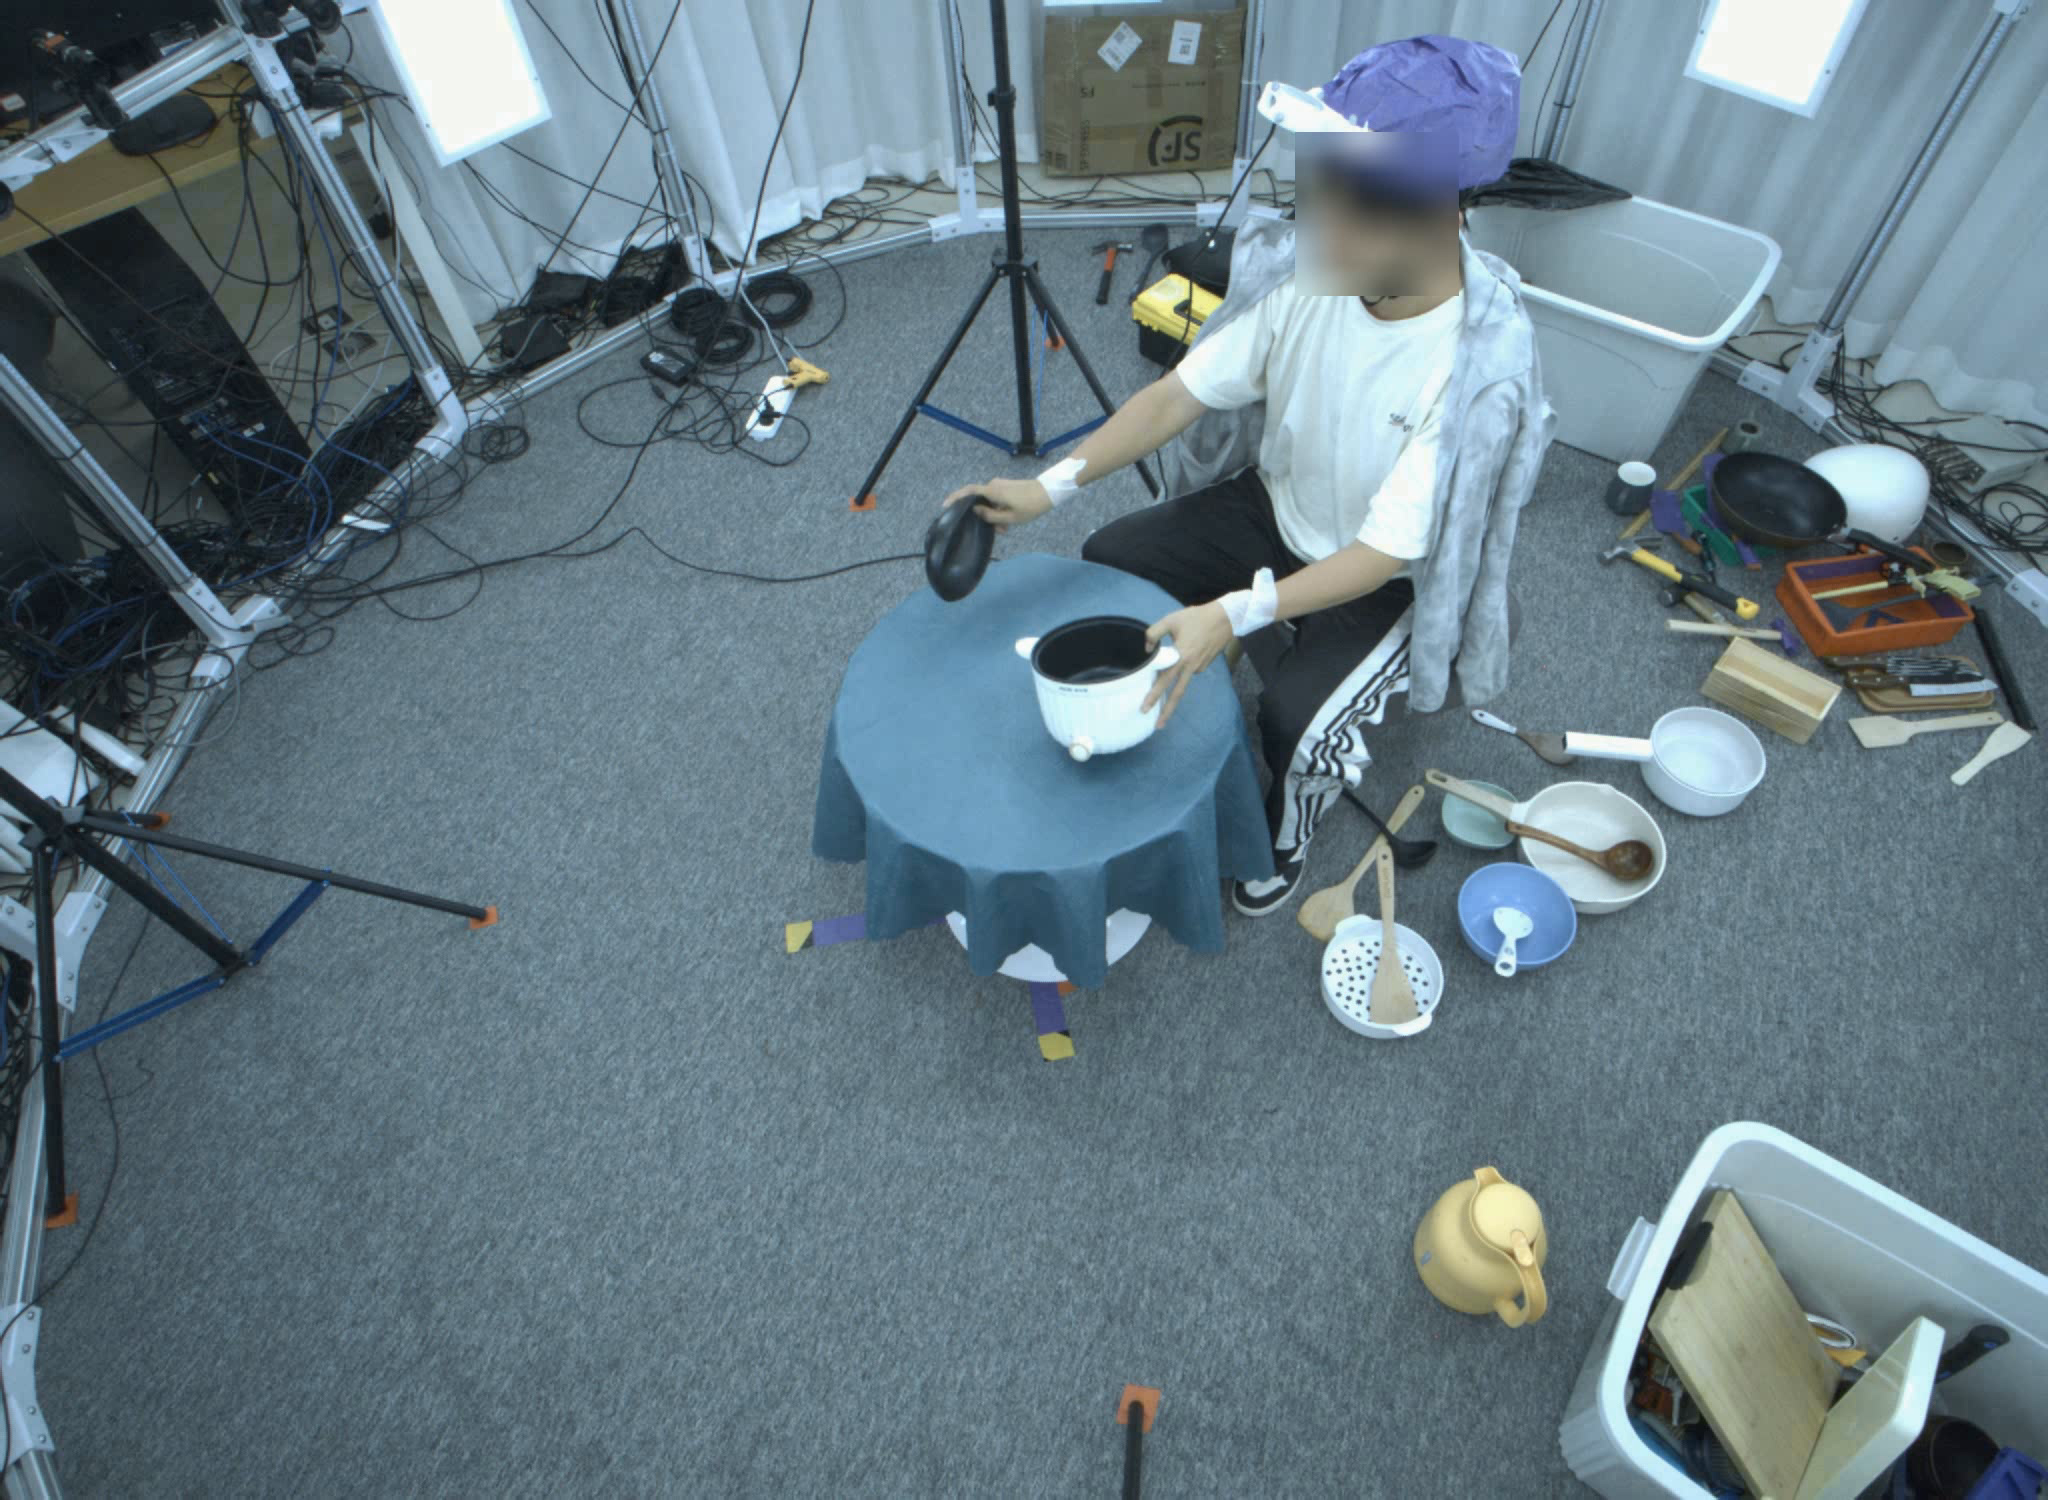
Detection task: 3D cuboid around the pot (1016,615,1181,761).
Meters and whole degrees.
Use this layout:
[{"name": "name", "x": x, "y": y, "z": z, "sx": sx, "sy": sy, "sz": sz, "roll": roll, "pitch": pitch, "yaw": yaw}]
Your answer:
[{"name": "pot", "x": 0.108, "y": -0.084, "z": 1.726, "sx": 0.236, "sy": 0.144, "sz": 0.191, "roll": 6, "pitch": 35, "yaw": 23}]

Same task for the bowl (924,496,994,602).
[{"name": "bowl", "x": -0.109, "y": -0.311, "z": 1.845, "sx": 0.065, "sy": 0.139, "sz": 0.170, "roll": 23, "pitch": 86, "yaw": 21}]
